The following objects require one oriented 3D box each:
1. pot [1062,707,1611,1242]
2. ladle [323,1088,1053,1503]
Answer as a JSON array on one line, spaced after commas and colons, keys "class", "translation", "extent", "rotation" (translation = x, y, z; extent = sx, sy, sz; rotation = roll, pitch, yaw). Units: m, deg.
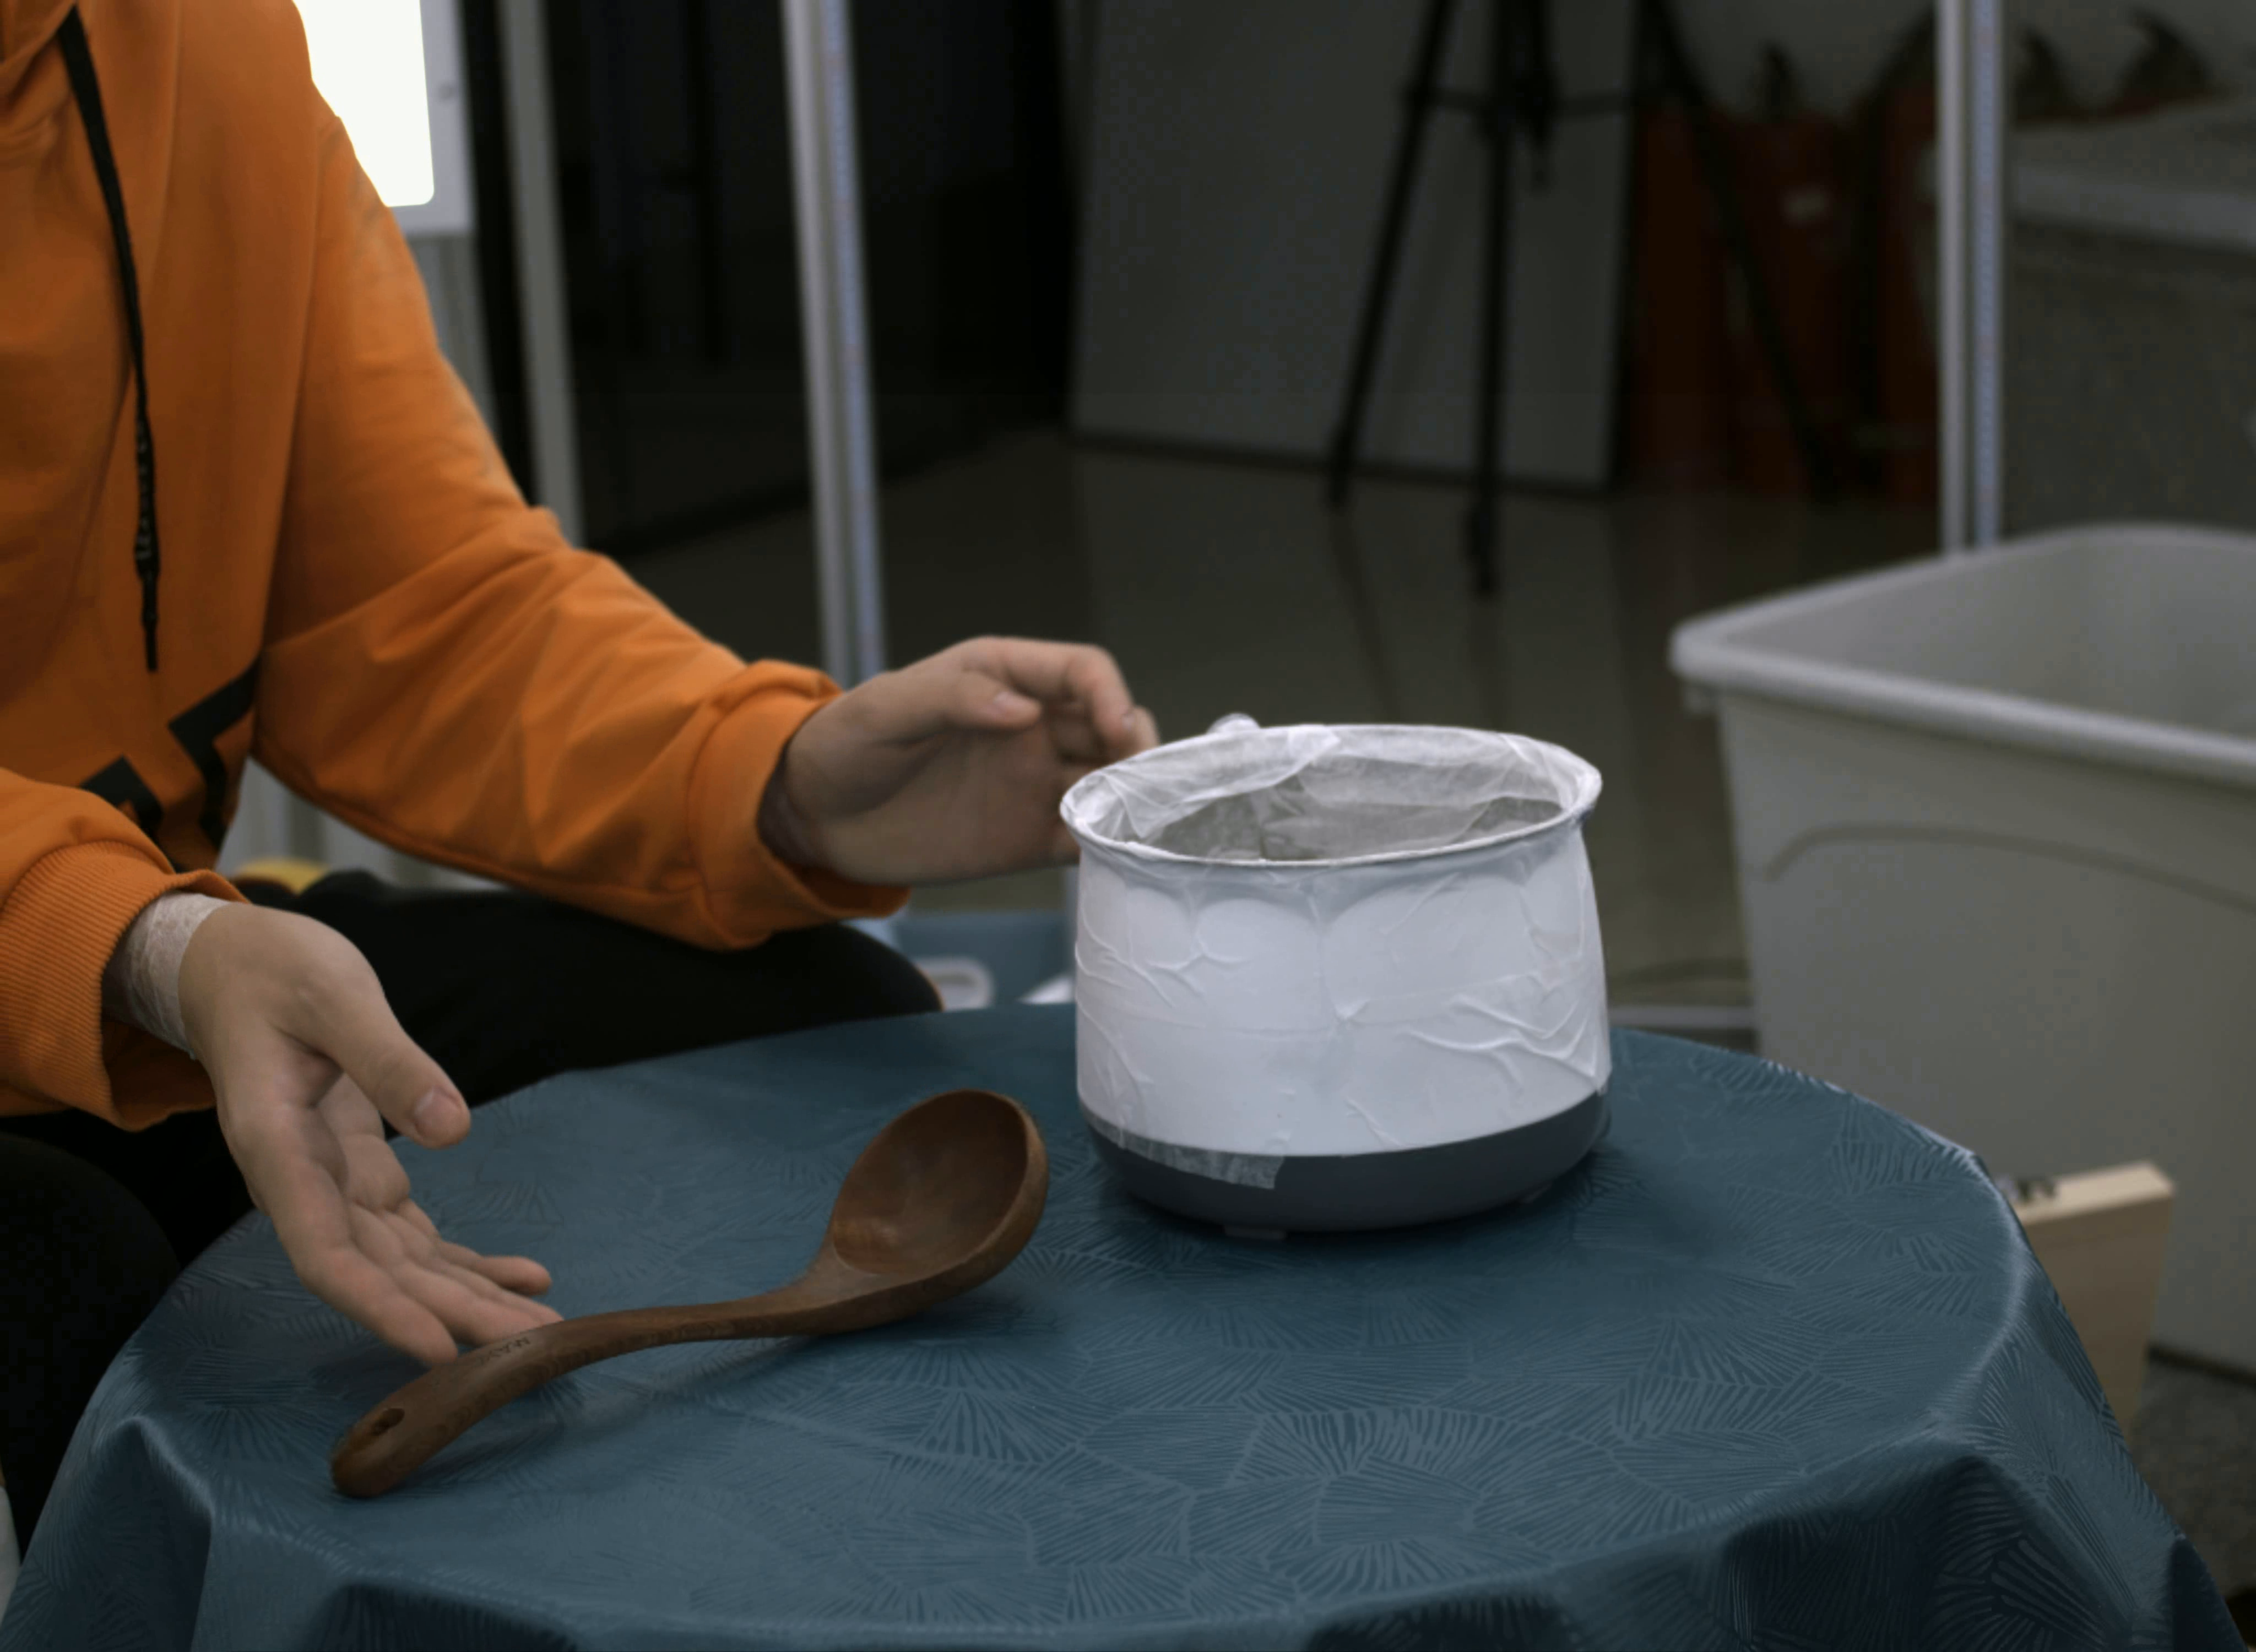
[{"class": "pot", "translation": [0.060, 0.043, 1.781], "extent": [0.175, 0.138, 0.236], "rotation": [-7, 14, -16]}, {"class": "ladle", "translation": [-0.130, 0.137, 1.612], "extent": [0.254, 0.066, 0.077], "rotation": [-14, 14, -37]}]
